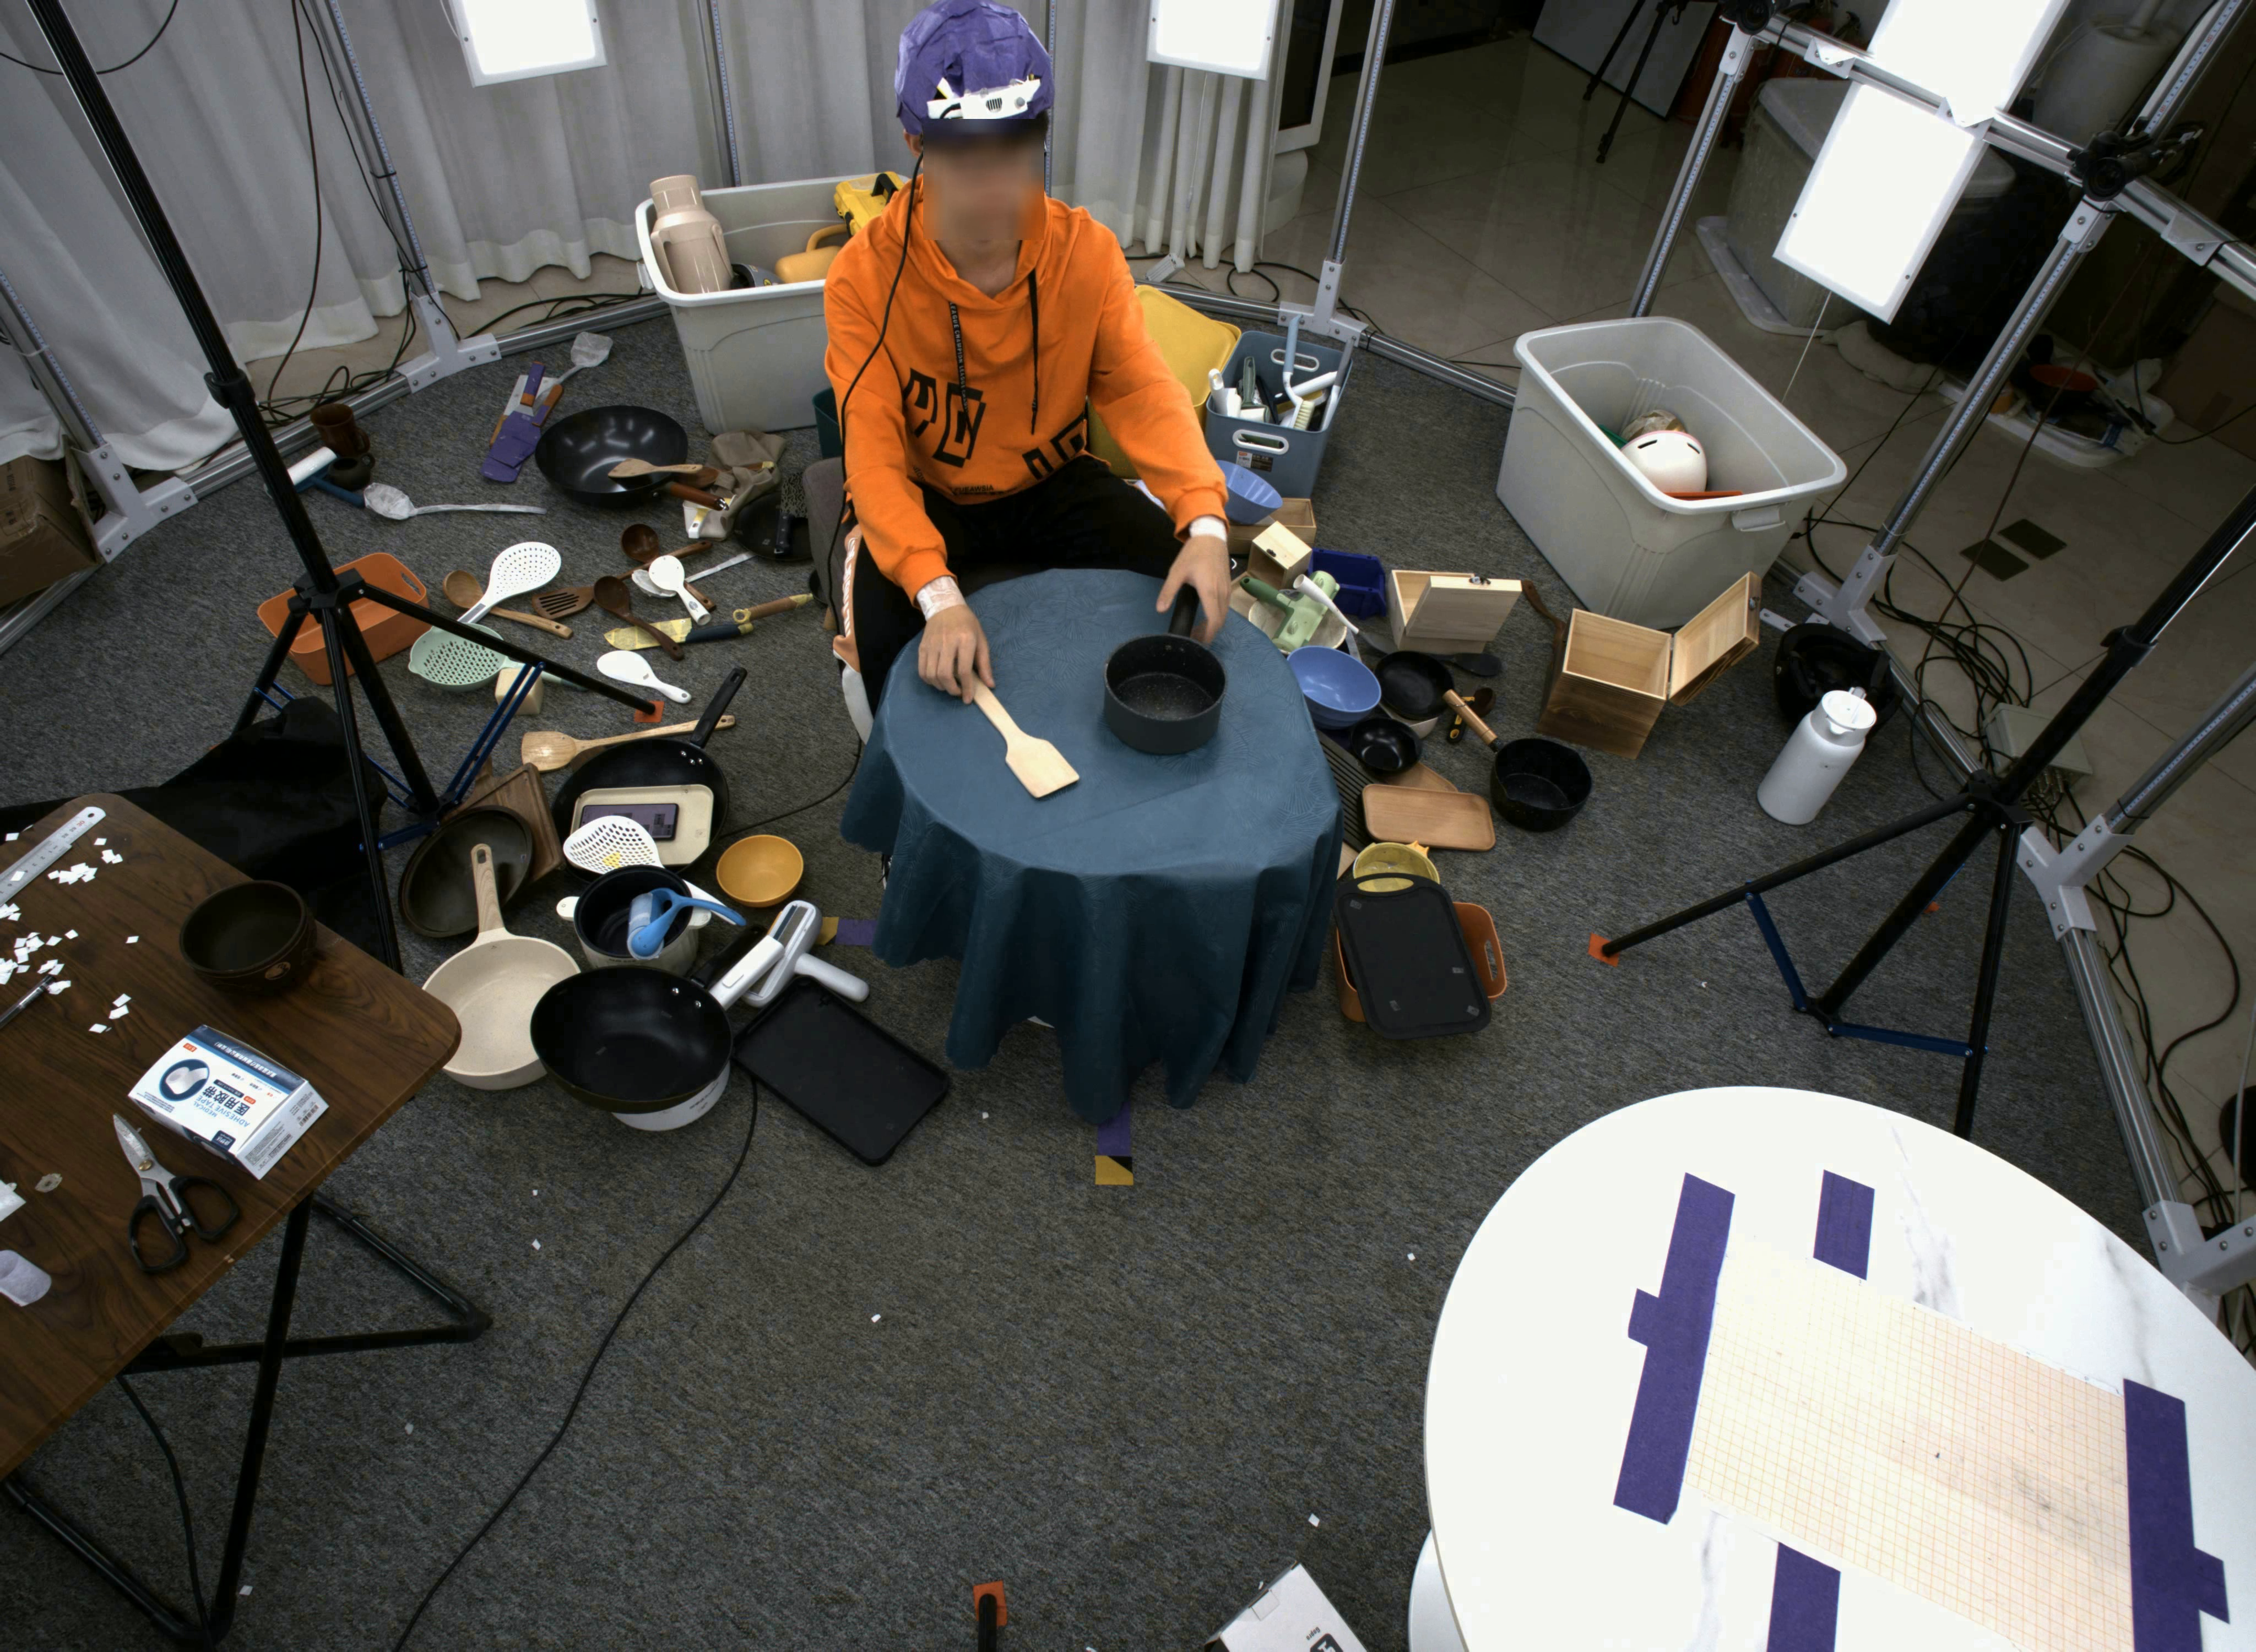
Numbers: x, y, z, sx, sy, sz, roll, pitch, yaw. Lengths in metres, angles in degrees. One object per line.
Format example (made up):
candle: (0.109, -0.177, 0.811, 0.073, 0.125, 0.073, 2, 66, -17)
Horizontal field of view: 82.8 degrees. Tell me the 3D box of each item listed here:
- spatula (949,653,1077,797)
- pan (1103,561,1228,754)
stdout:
spatula: (-0.173, -0.147, 1.778, 0.072, 0.010, 0.299, -25, 55, -19)
pan: (0.070, -0.244, 1.831, 0.172, 0.084, 0.336, 14, 51, 7)
